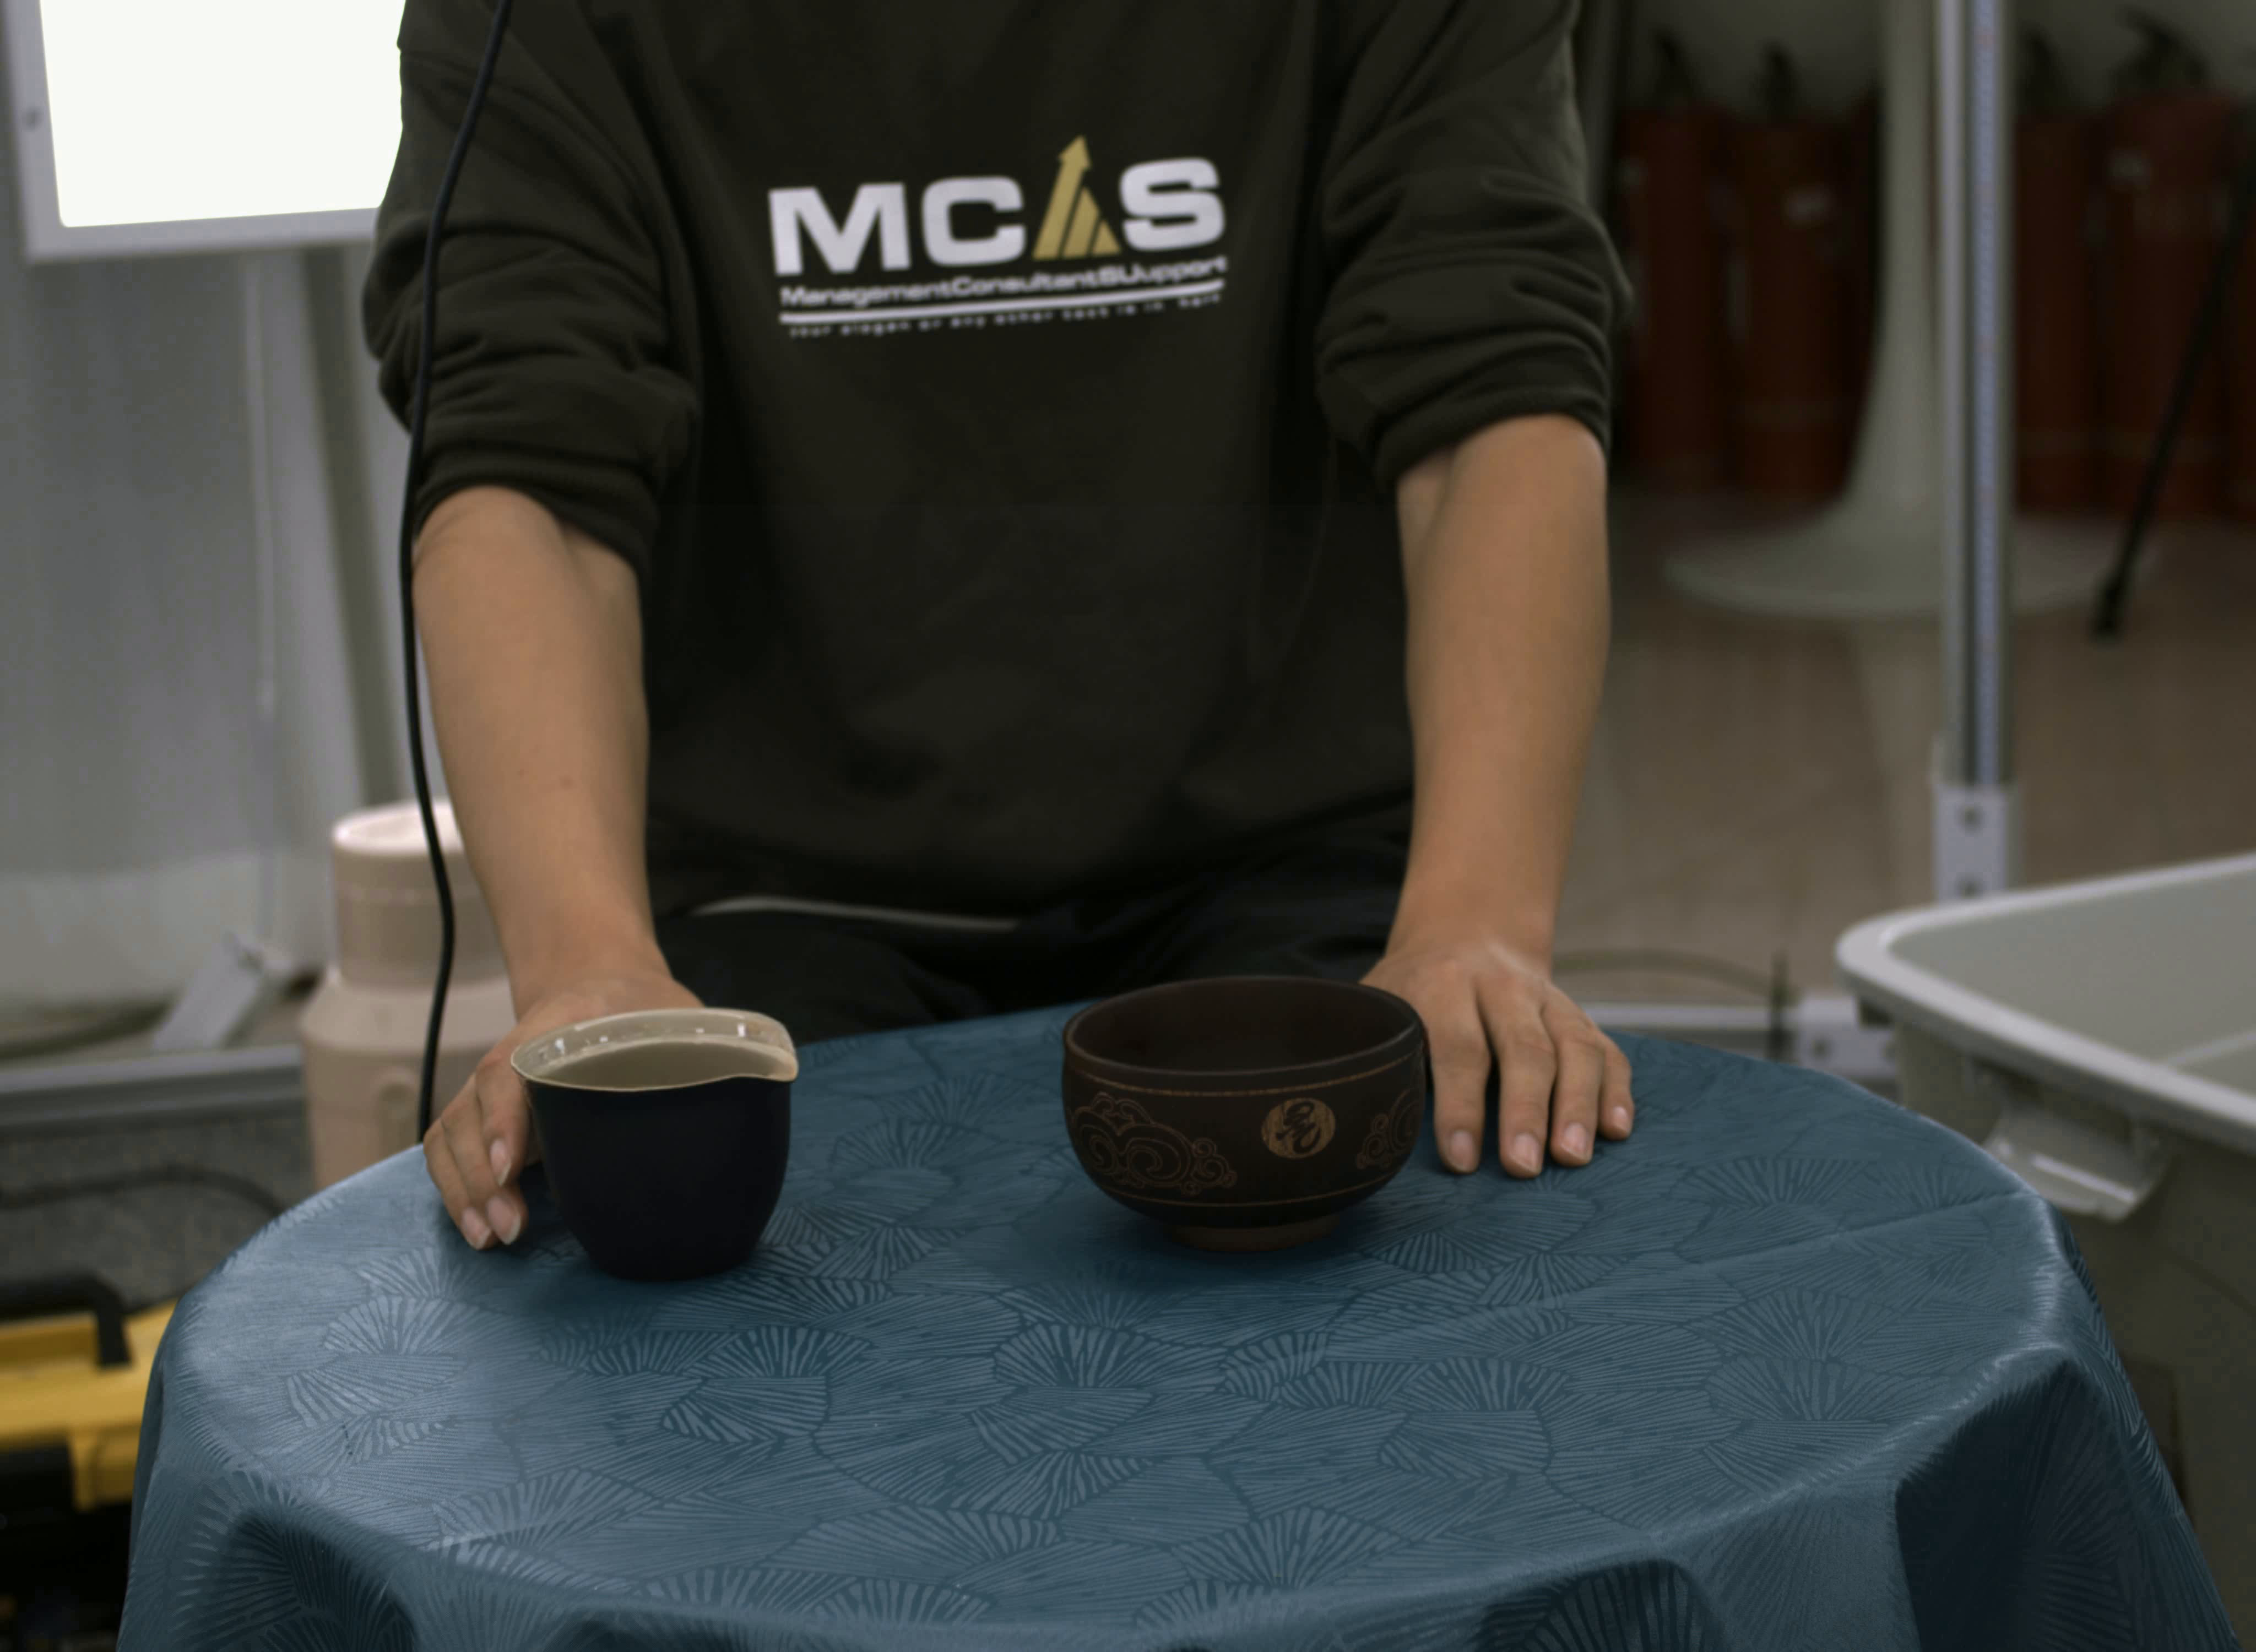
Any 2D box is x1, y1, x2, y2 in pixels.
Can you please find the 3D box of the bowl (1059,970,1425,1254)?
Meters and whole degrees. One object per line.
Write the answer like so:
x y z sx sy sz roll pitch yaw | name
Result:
0.038 0.095 1.724 0.116 0.070 0.118 -5 15 0 | bowl

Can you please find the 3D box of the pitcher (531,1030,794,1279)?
-0.143 0.104 1.727 0.097 0.072 0.082 7 15 42 | pitcher
